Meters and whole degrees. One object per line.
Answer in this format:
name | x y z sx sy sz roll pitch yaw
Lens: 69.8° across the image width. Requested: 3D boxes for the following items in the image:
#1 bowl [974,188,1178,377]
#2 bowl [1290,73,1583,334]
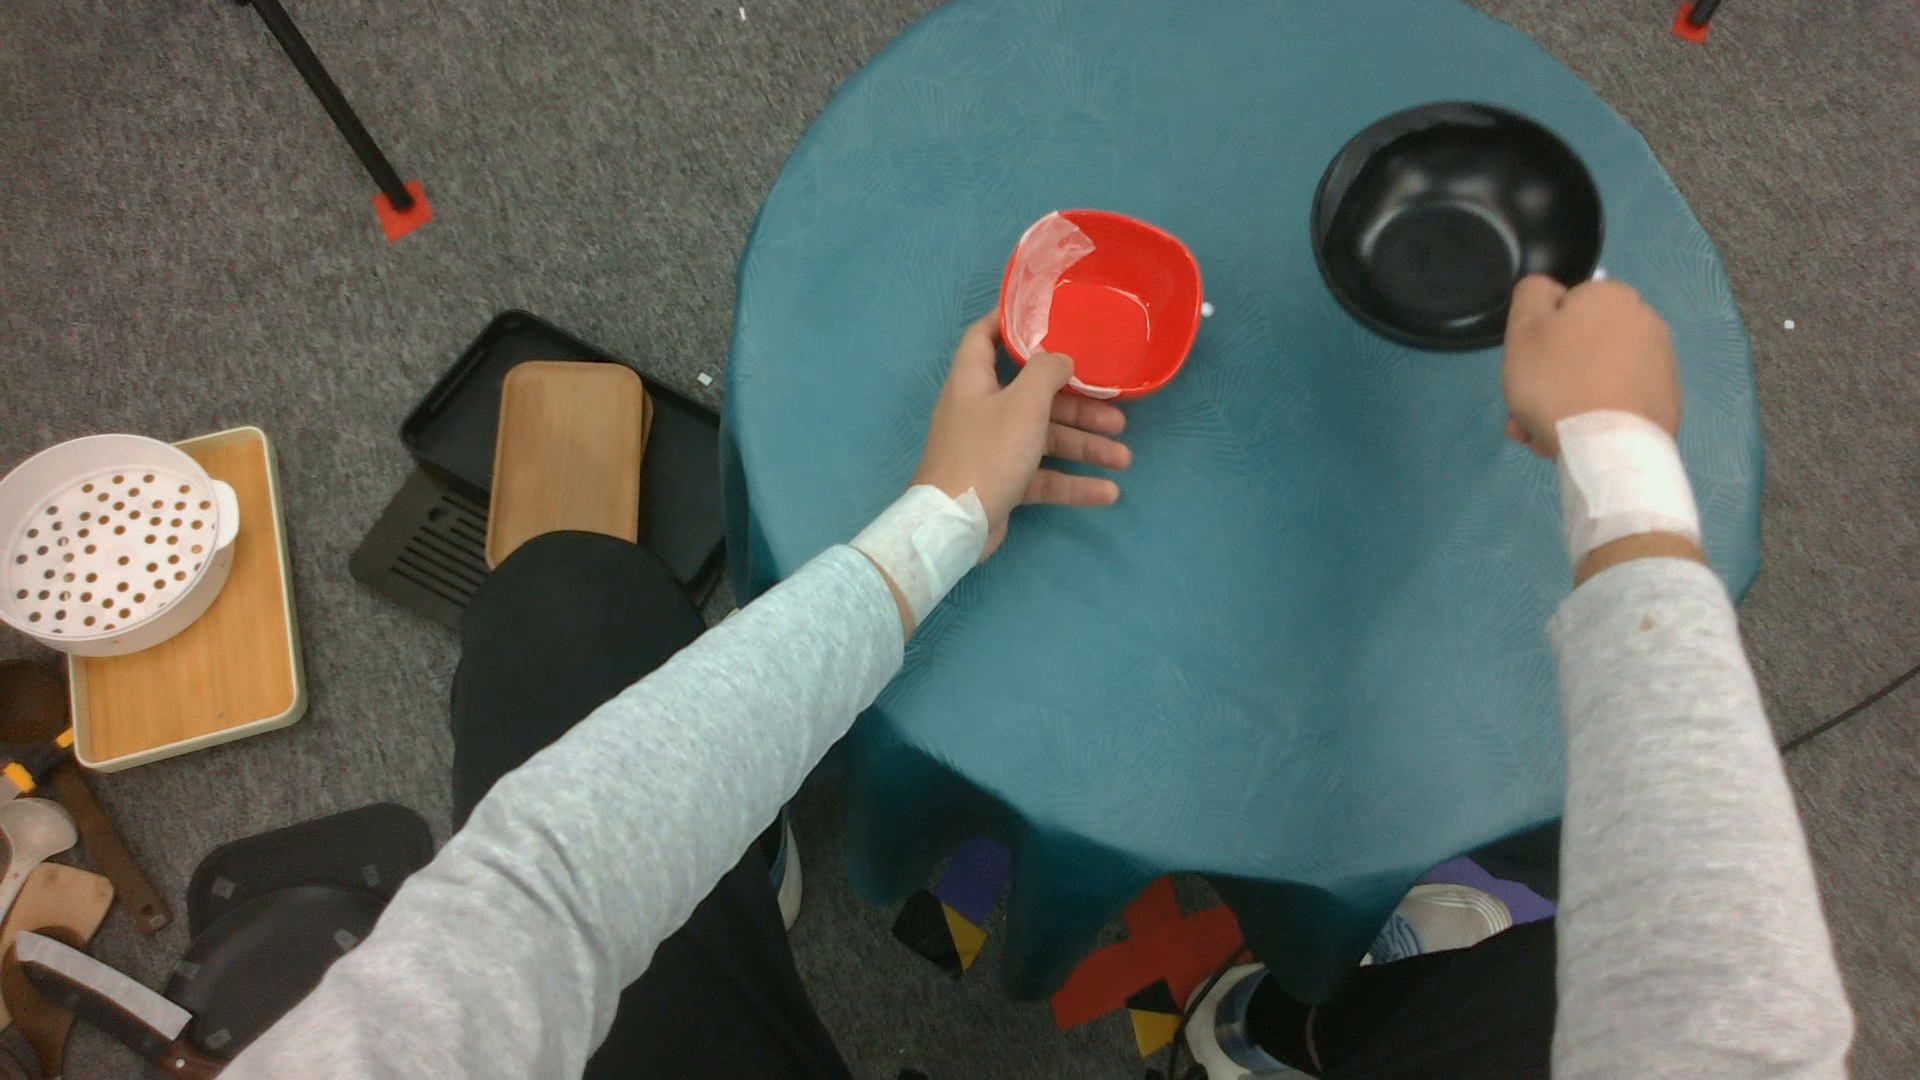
bowl | 0.062 -0.136 0.775 0.119 0.051 0.119 2 69 -4
bowl | 0.239 -0.164 0.702 0.140 0.050 0.140 -3 75 12
